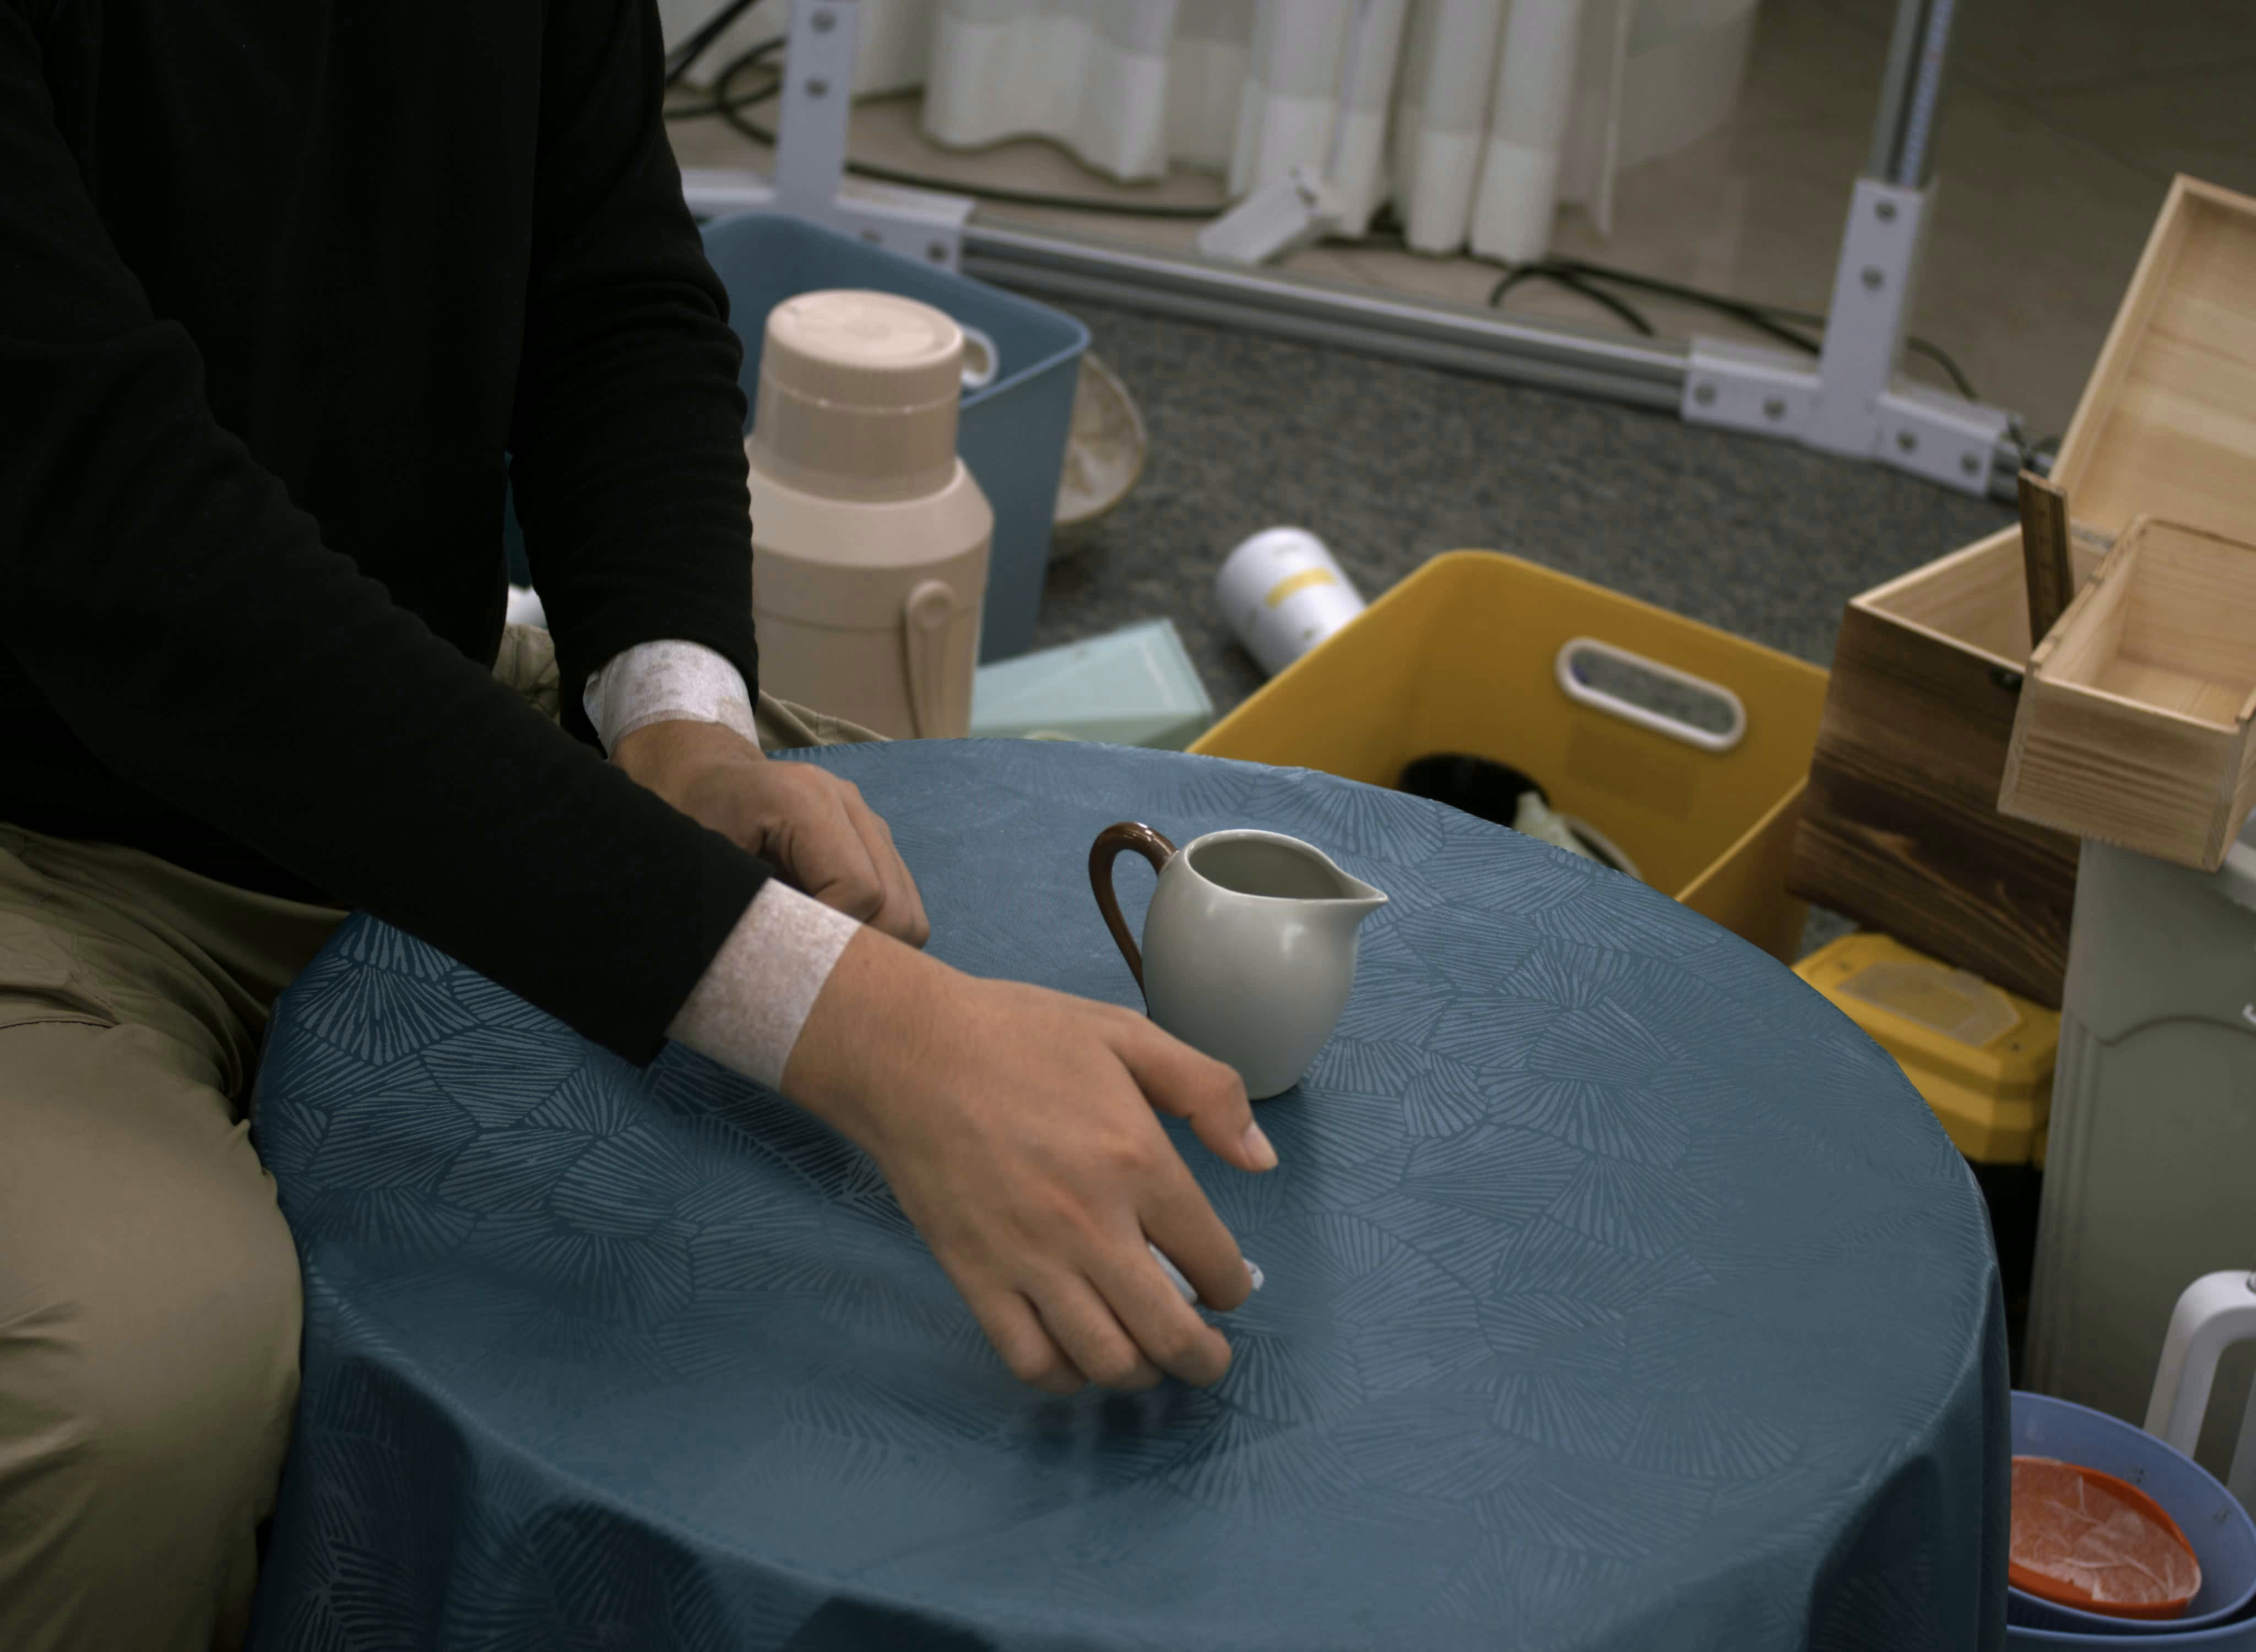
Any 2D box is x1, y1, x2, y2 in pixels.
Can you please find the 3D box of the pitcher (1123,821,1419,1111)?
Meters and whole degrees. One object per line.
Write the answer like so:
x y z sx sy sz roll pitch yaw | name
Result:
0.044 0.048 1.864 0.120 0.087 0.075 25 28 29 | pitcher

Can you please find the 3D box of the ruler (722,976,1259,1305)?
-0.051 0.101 1.761 0.219 0.024 0.038 25 39 34 | ruler
